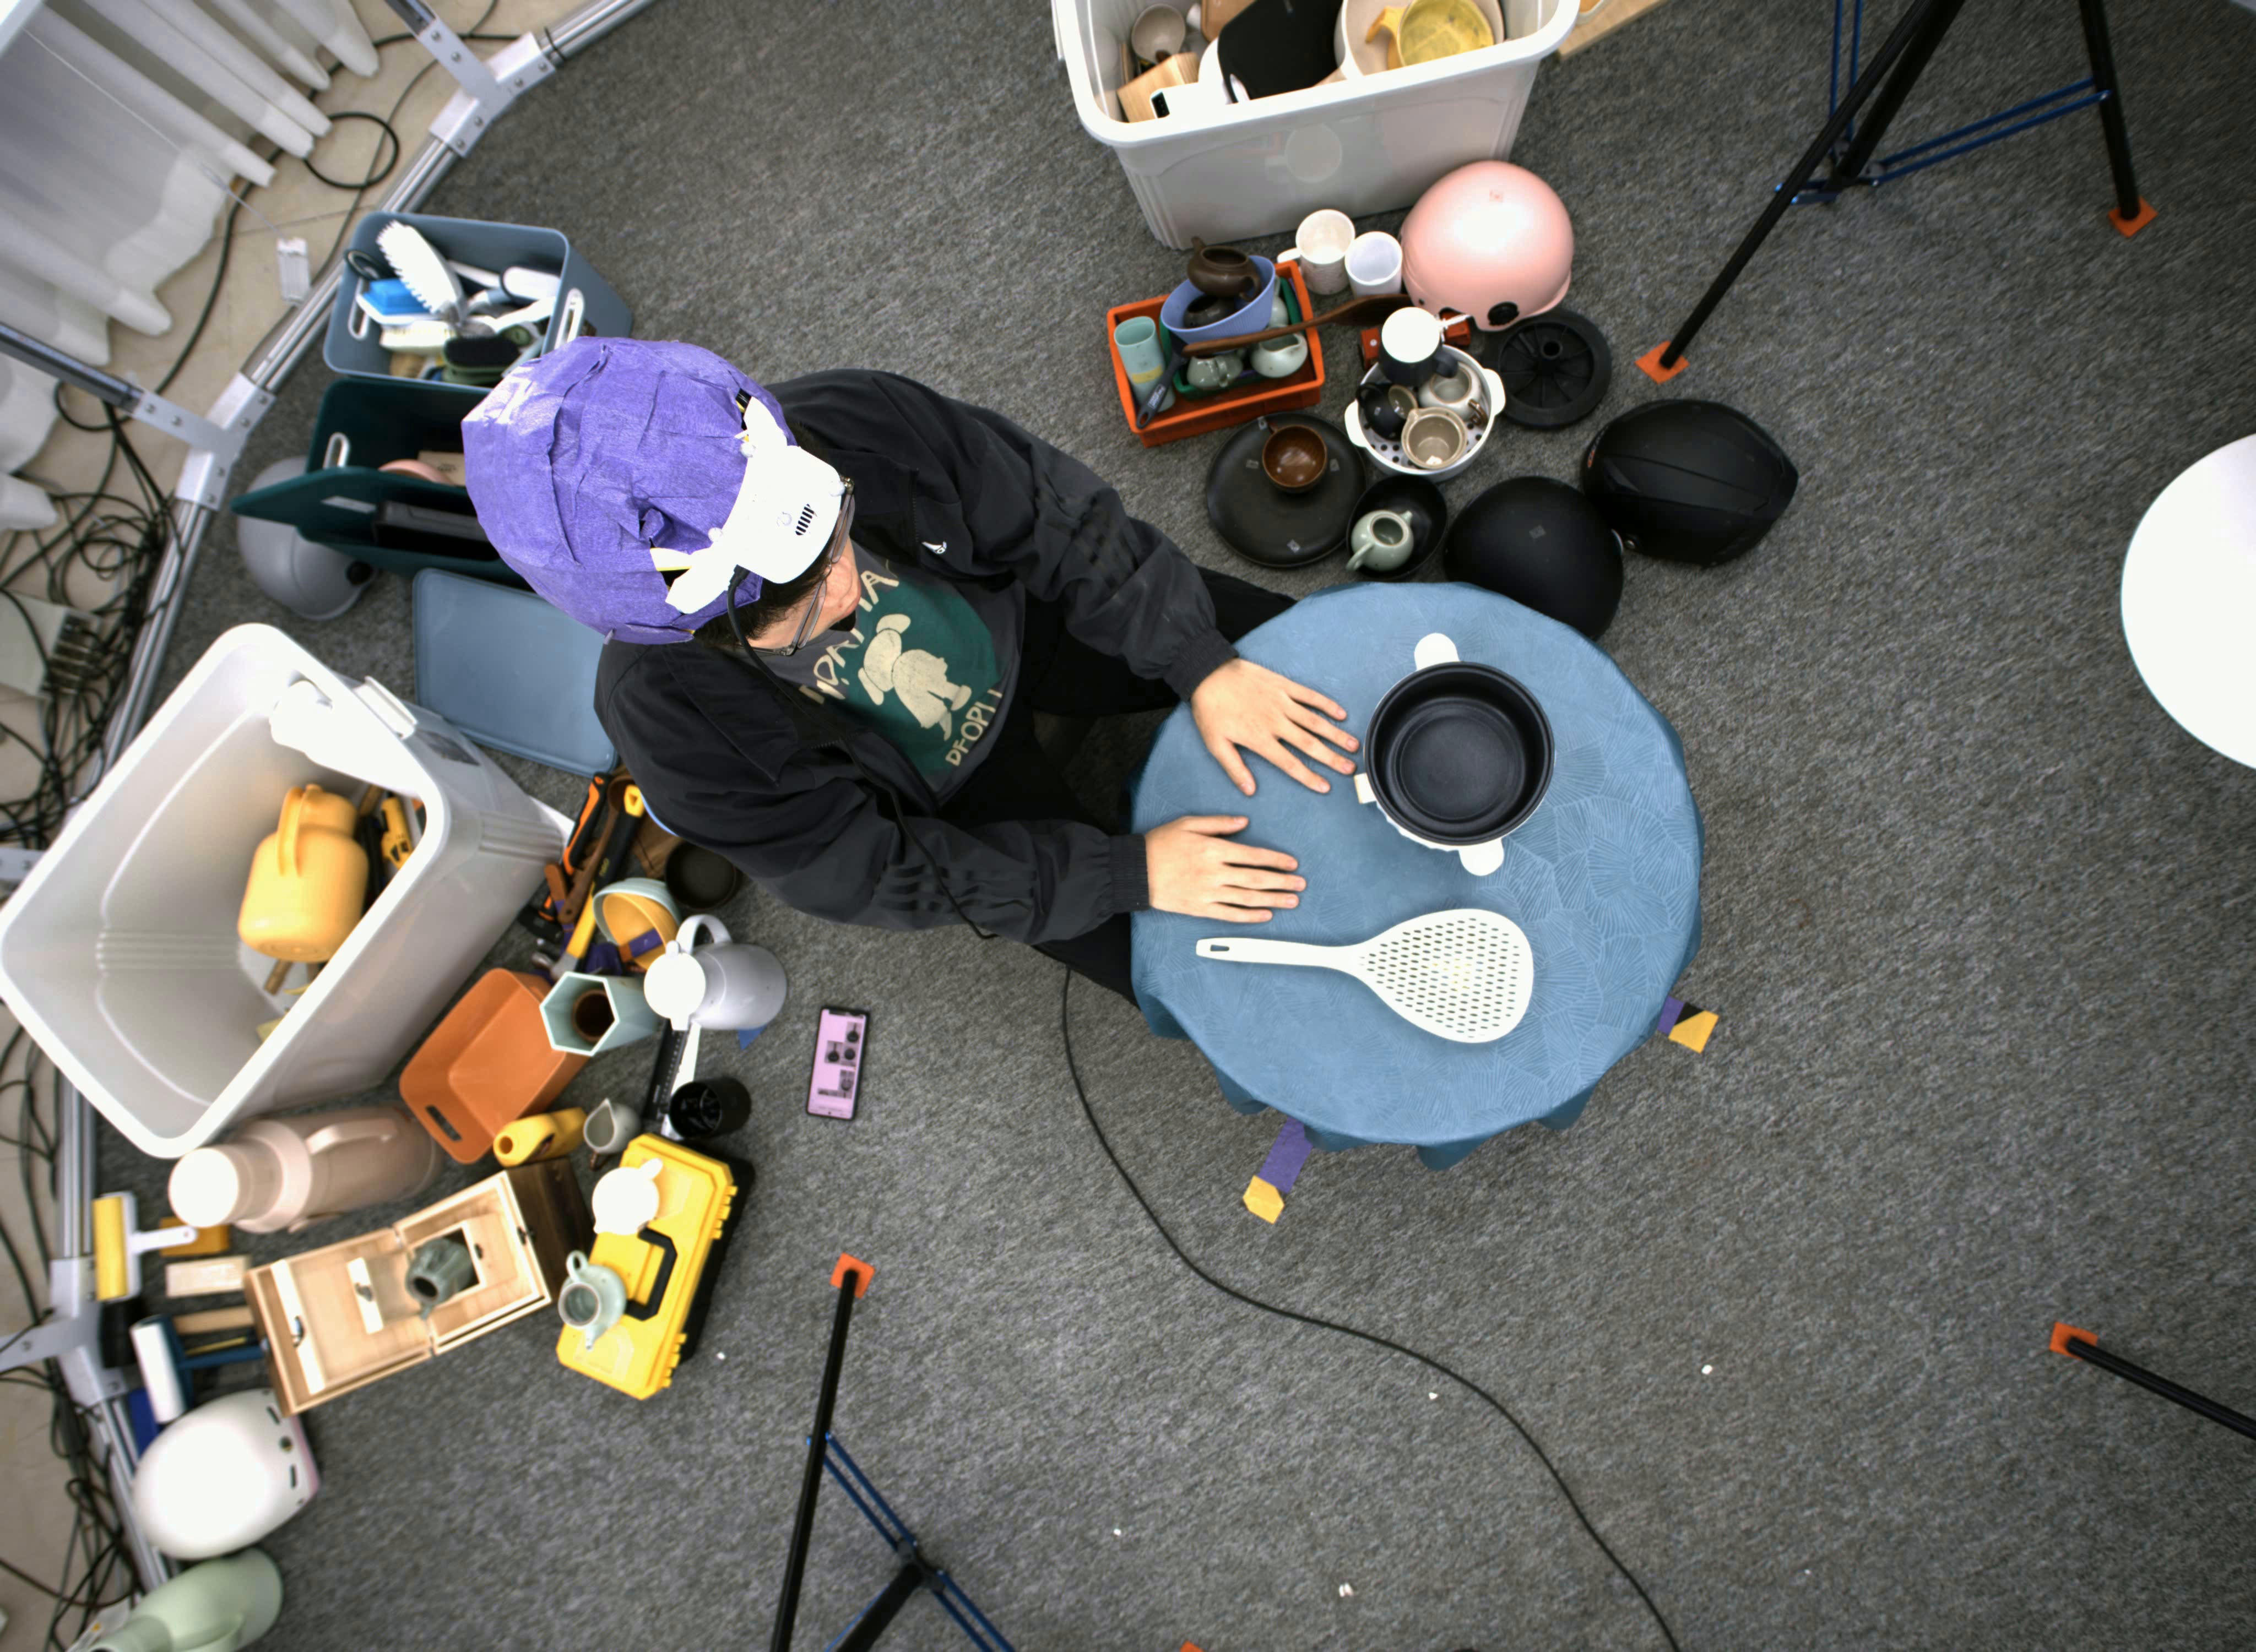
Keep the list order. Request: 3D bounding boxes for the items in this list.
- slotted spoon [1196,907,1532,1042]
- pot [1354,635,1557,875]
[{"bbox_3d":[0.240,0.141,1.439,0.349,0.050,0.136,5,88,11],"label":"slotted spoon"},{"bbox_3d":[0.325,-0.062,1.385,0.191,0.143,0.239,-13,83,6],"label":"pot"}]
